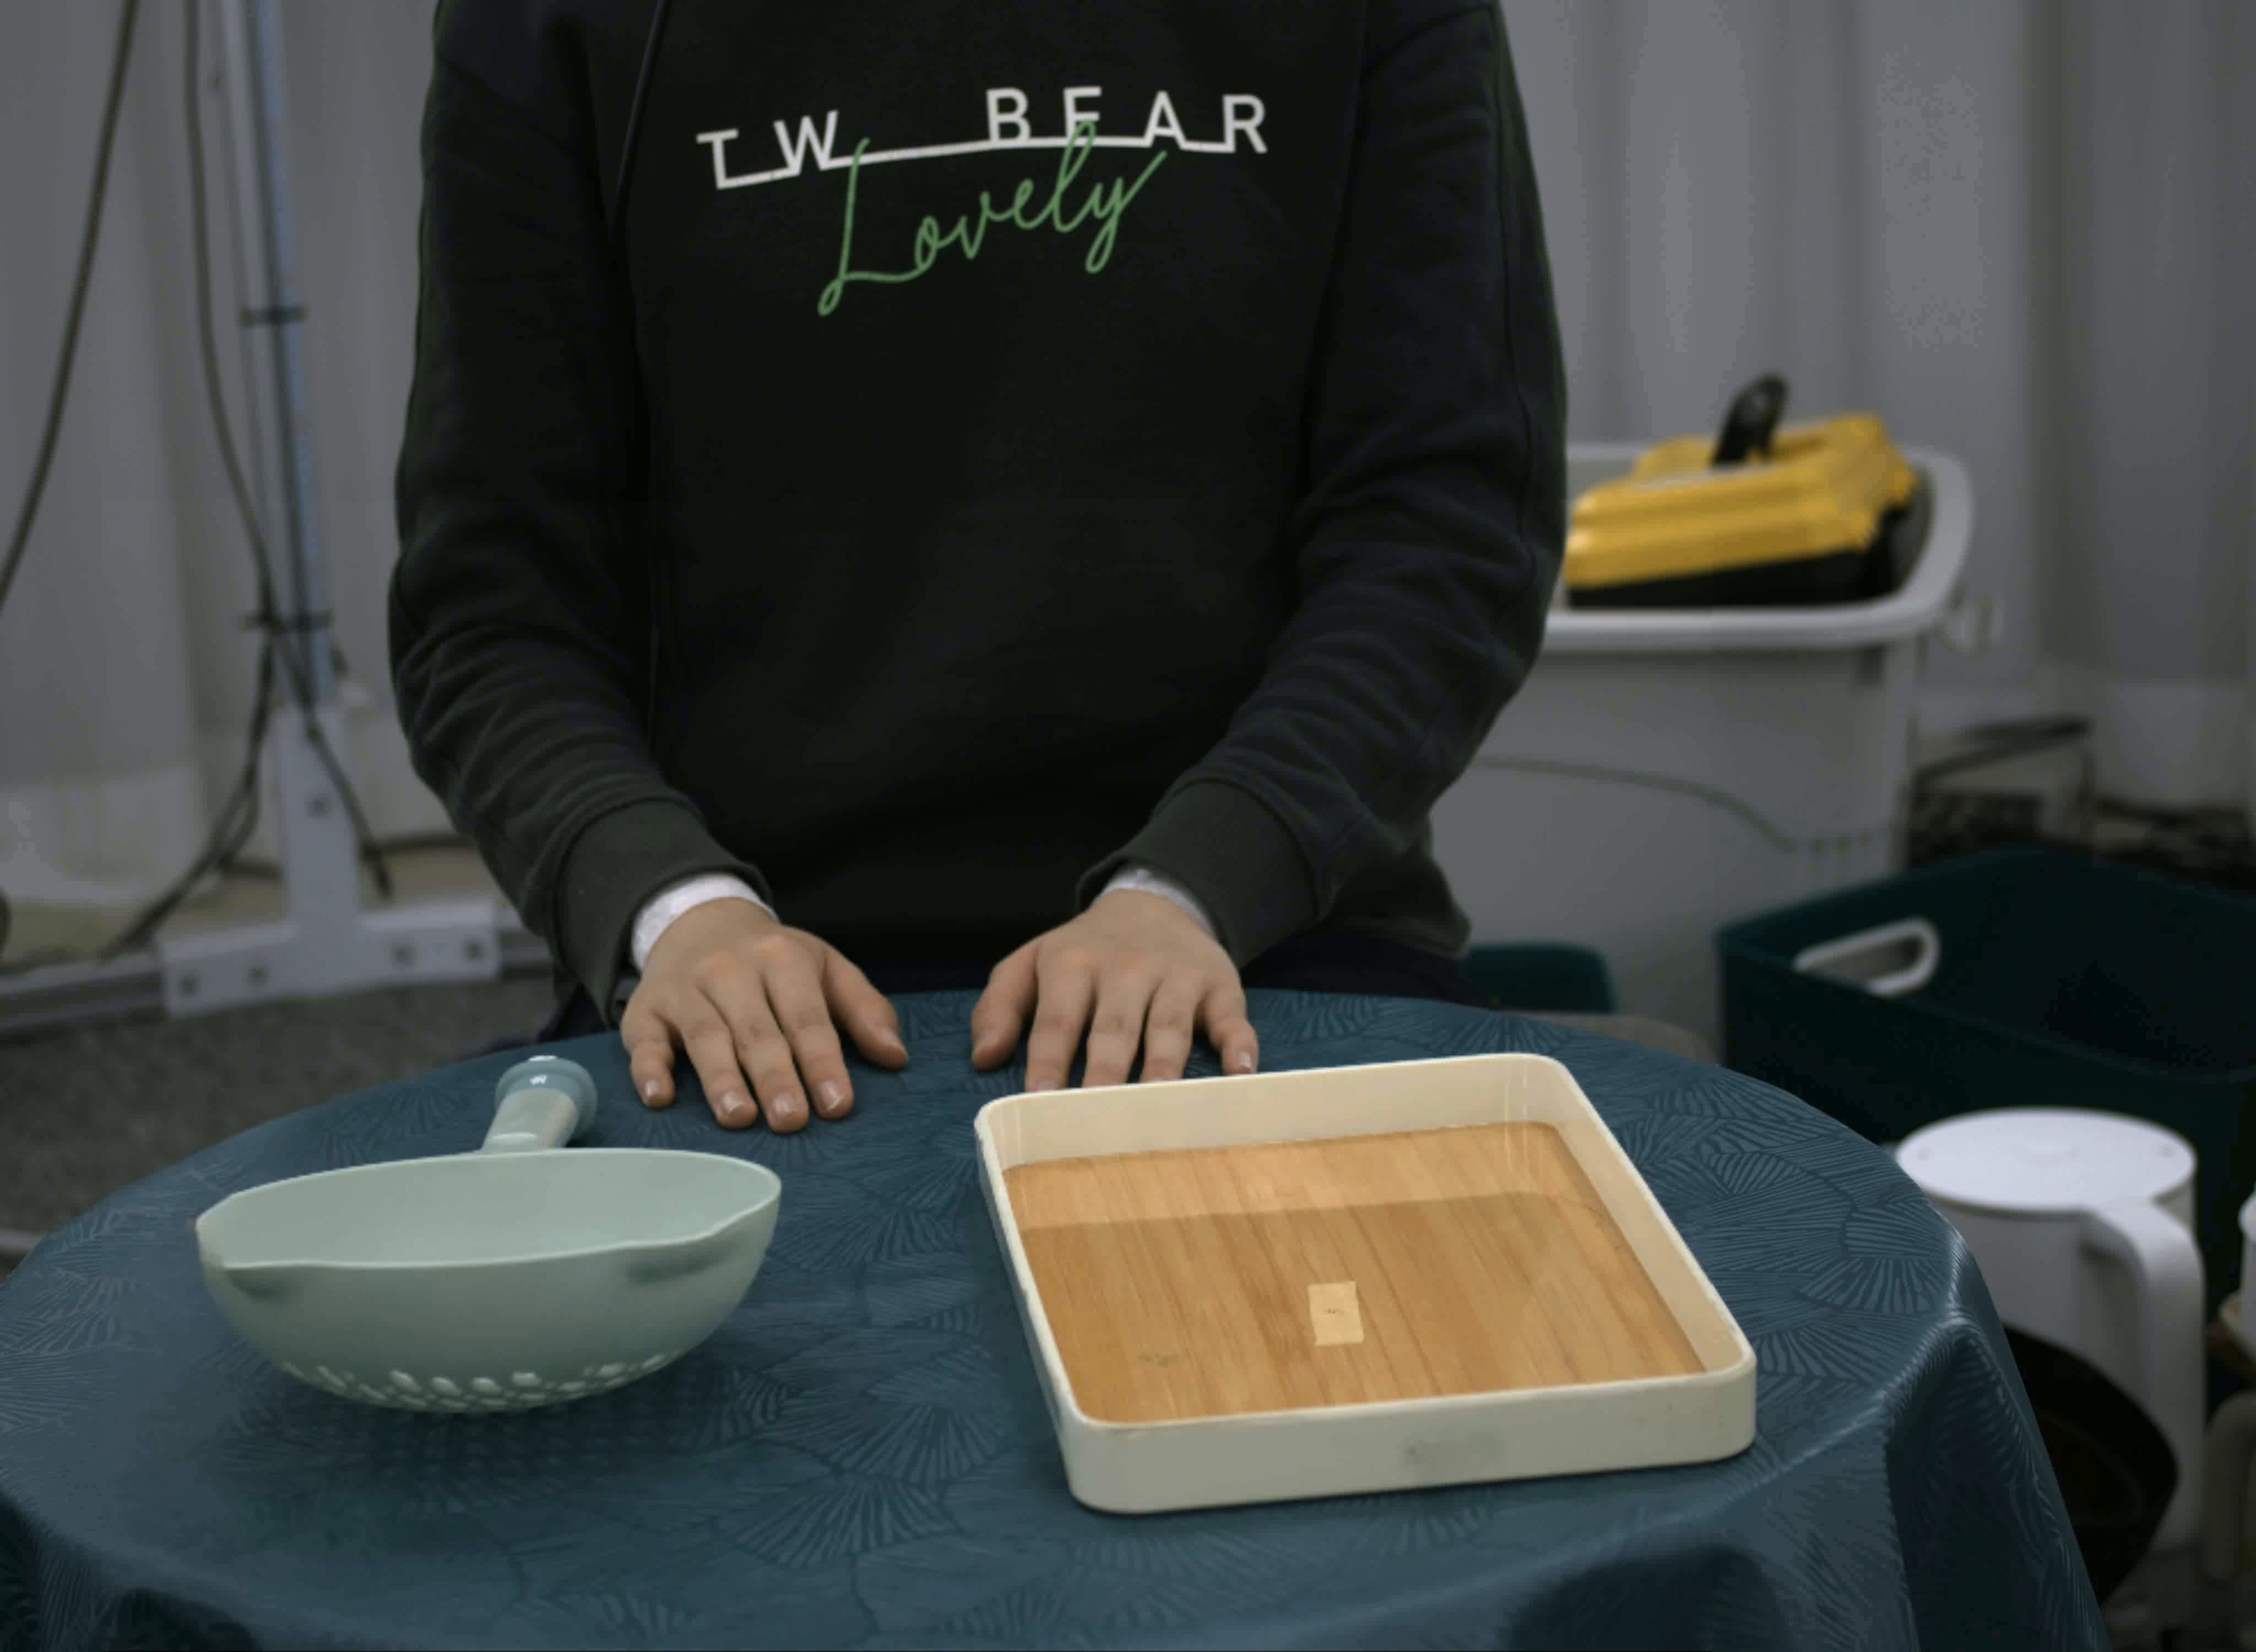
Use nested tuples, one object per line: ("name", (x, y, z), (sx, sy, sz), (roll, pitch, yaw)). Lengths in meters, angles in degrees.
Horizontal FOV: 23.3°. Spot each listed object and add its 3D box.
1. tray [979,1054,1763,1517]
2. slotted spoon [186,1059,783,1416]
("tray", (0.063, 0.129, 1.598), (0.191, 0.027, 0.302), (-4, 15, -5))
("slotted spoon", (-0.184, 0.108, 1.651), (0.169, 0.075, 0.361), (-2, 15, -1))
